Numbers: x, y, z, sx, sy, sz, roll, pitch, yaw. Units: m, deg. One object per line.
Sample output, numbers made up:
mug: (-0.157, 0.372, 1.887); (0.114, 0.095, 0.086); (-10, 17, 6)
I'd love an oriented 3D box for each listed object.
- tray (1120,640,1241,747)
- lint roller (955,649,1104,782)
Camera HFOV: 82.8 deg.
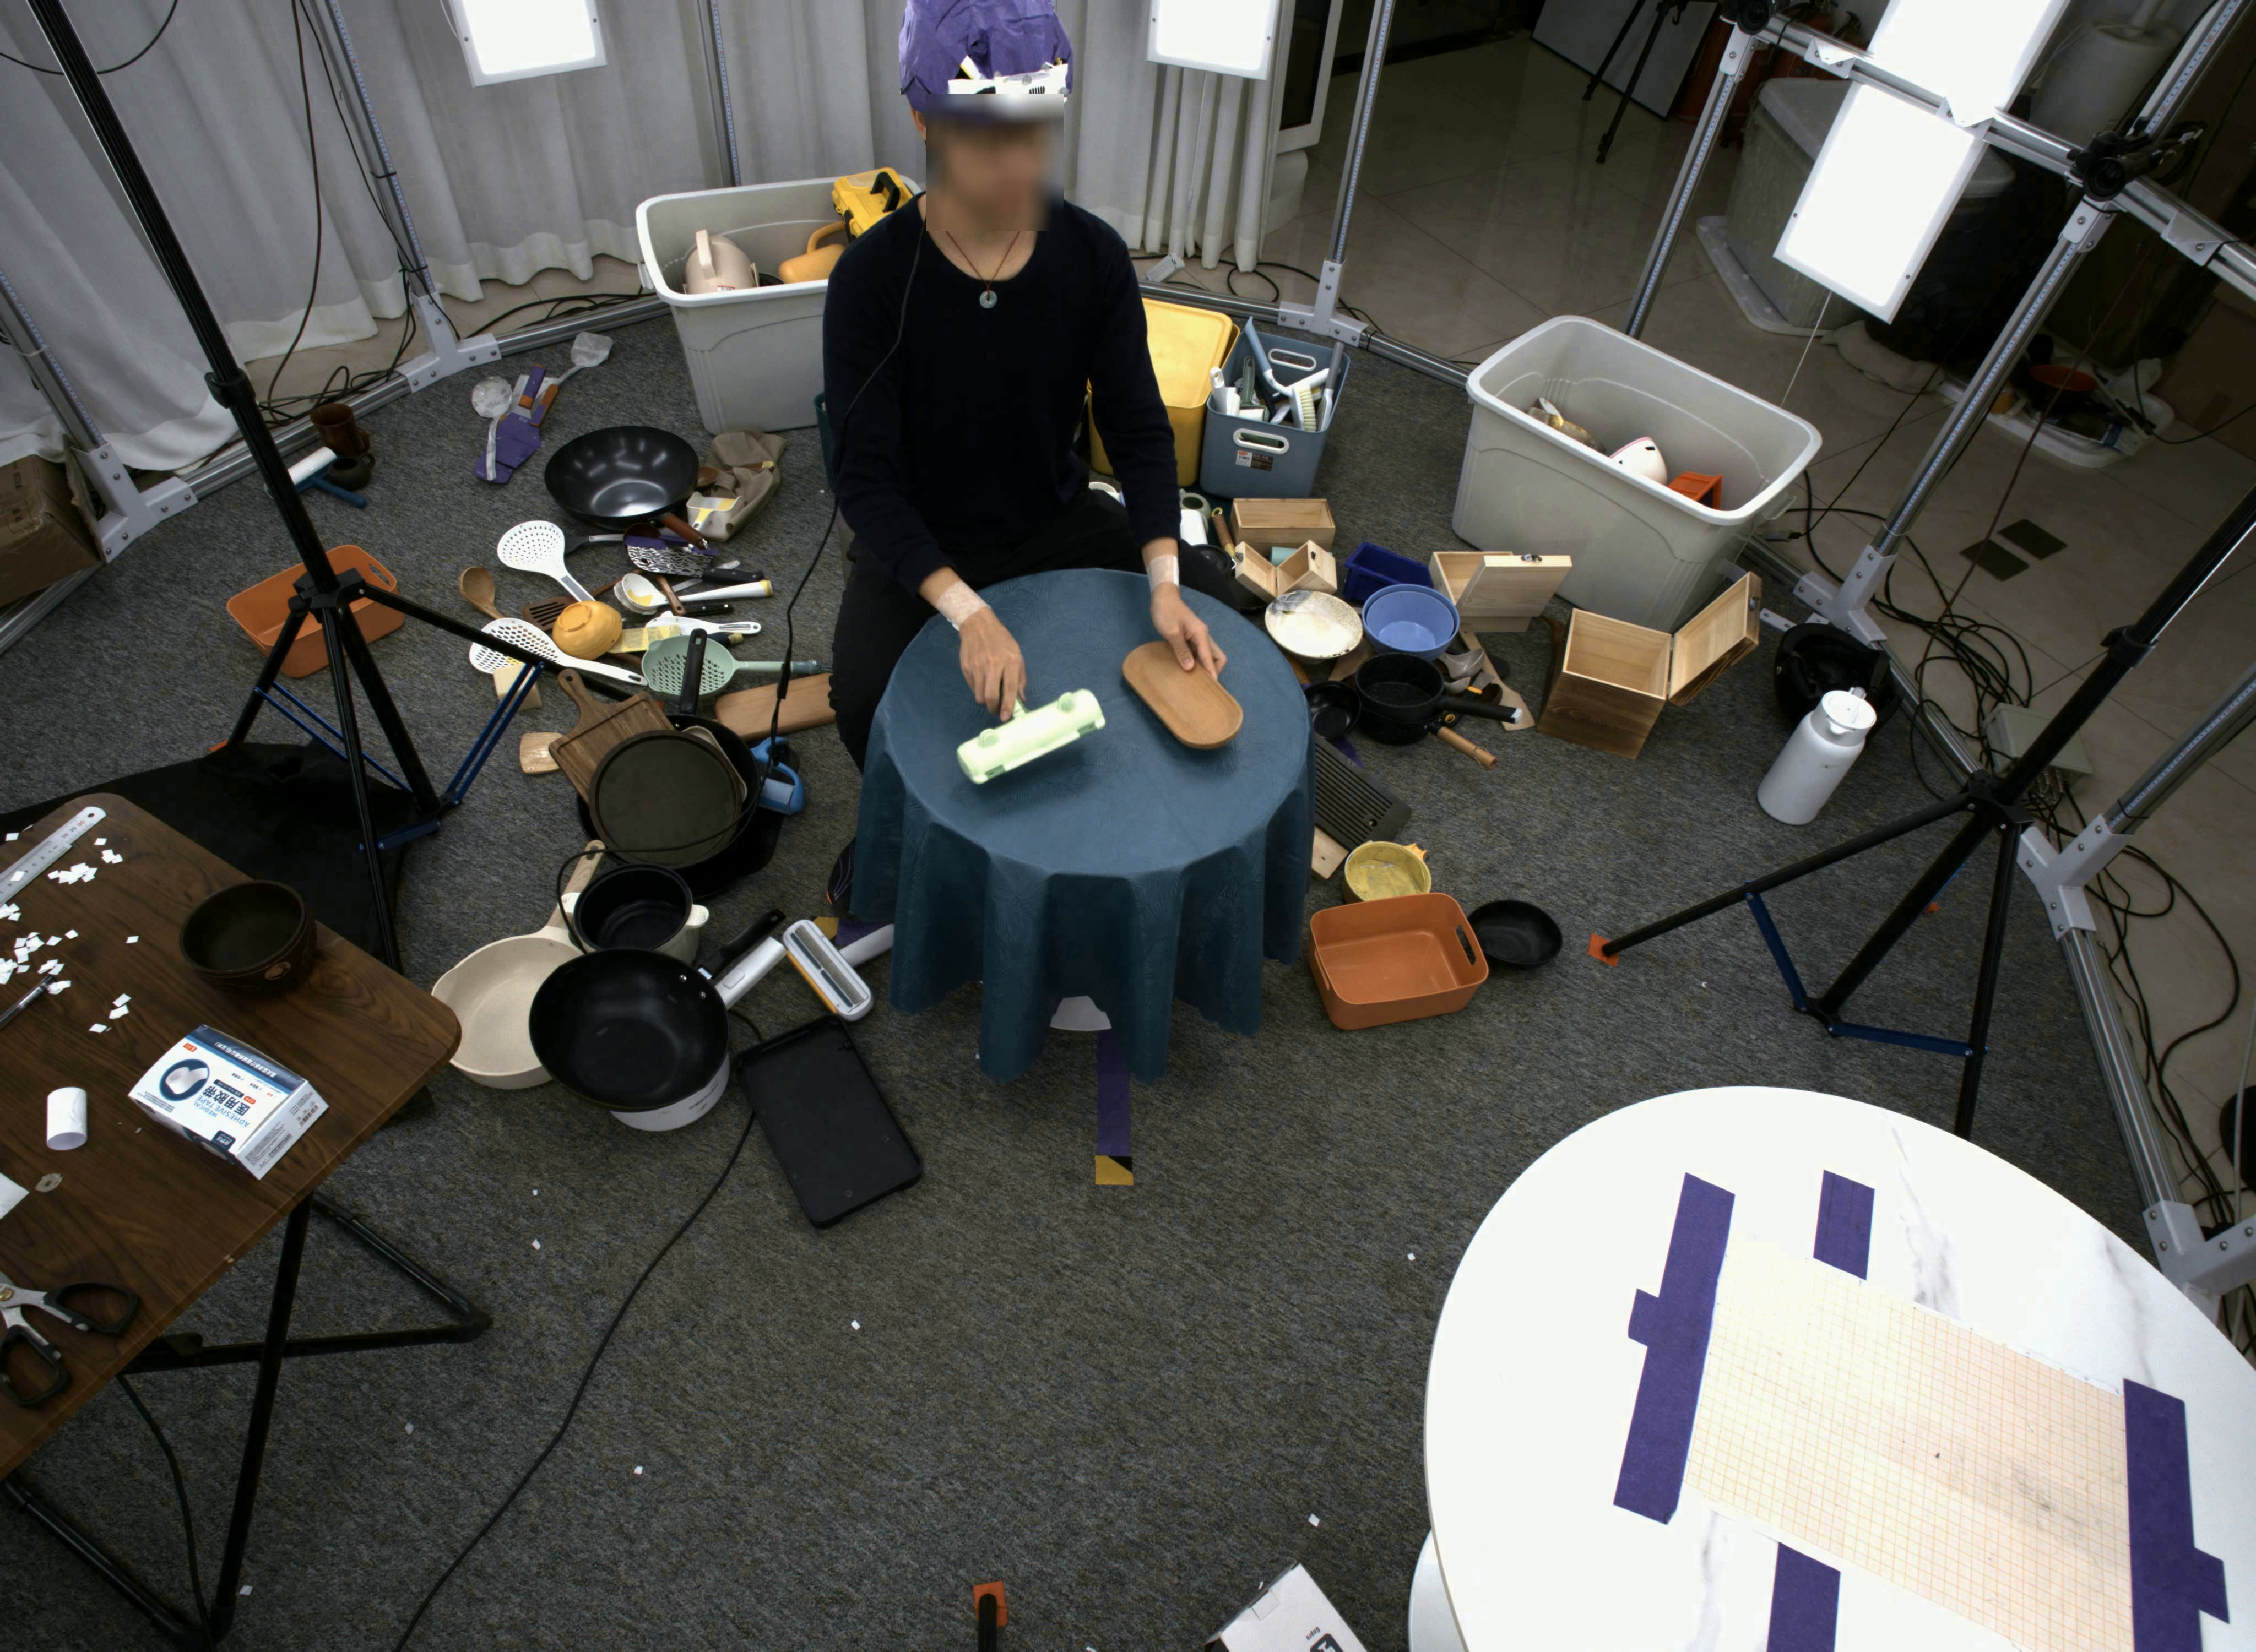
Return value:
tray: (0.073, -0.188, 1.800); (0.102, 0.020, 0.236); (-27, 49, -15)
lint roller: (-0.157, -0.173, 1.696); (0.199, 0.081, 0.185); (-27, 75, -16)
